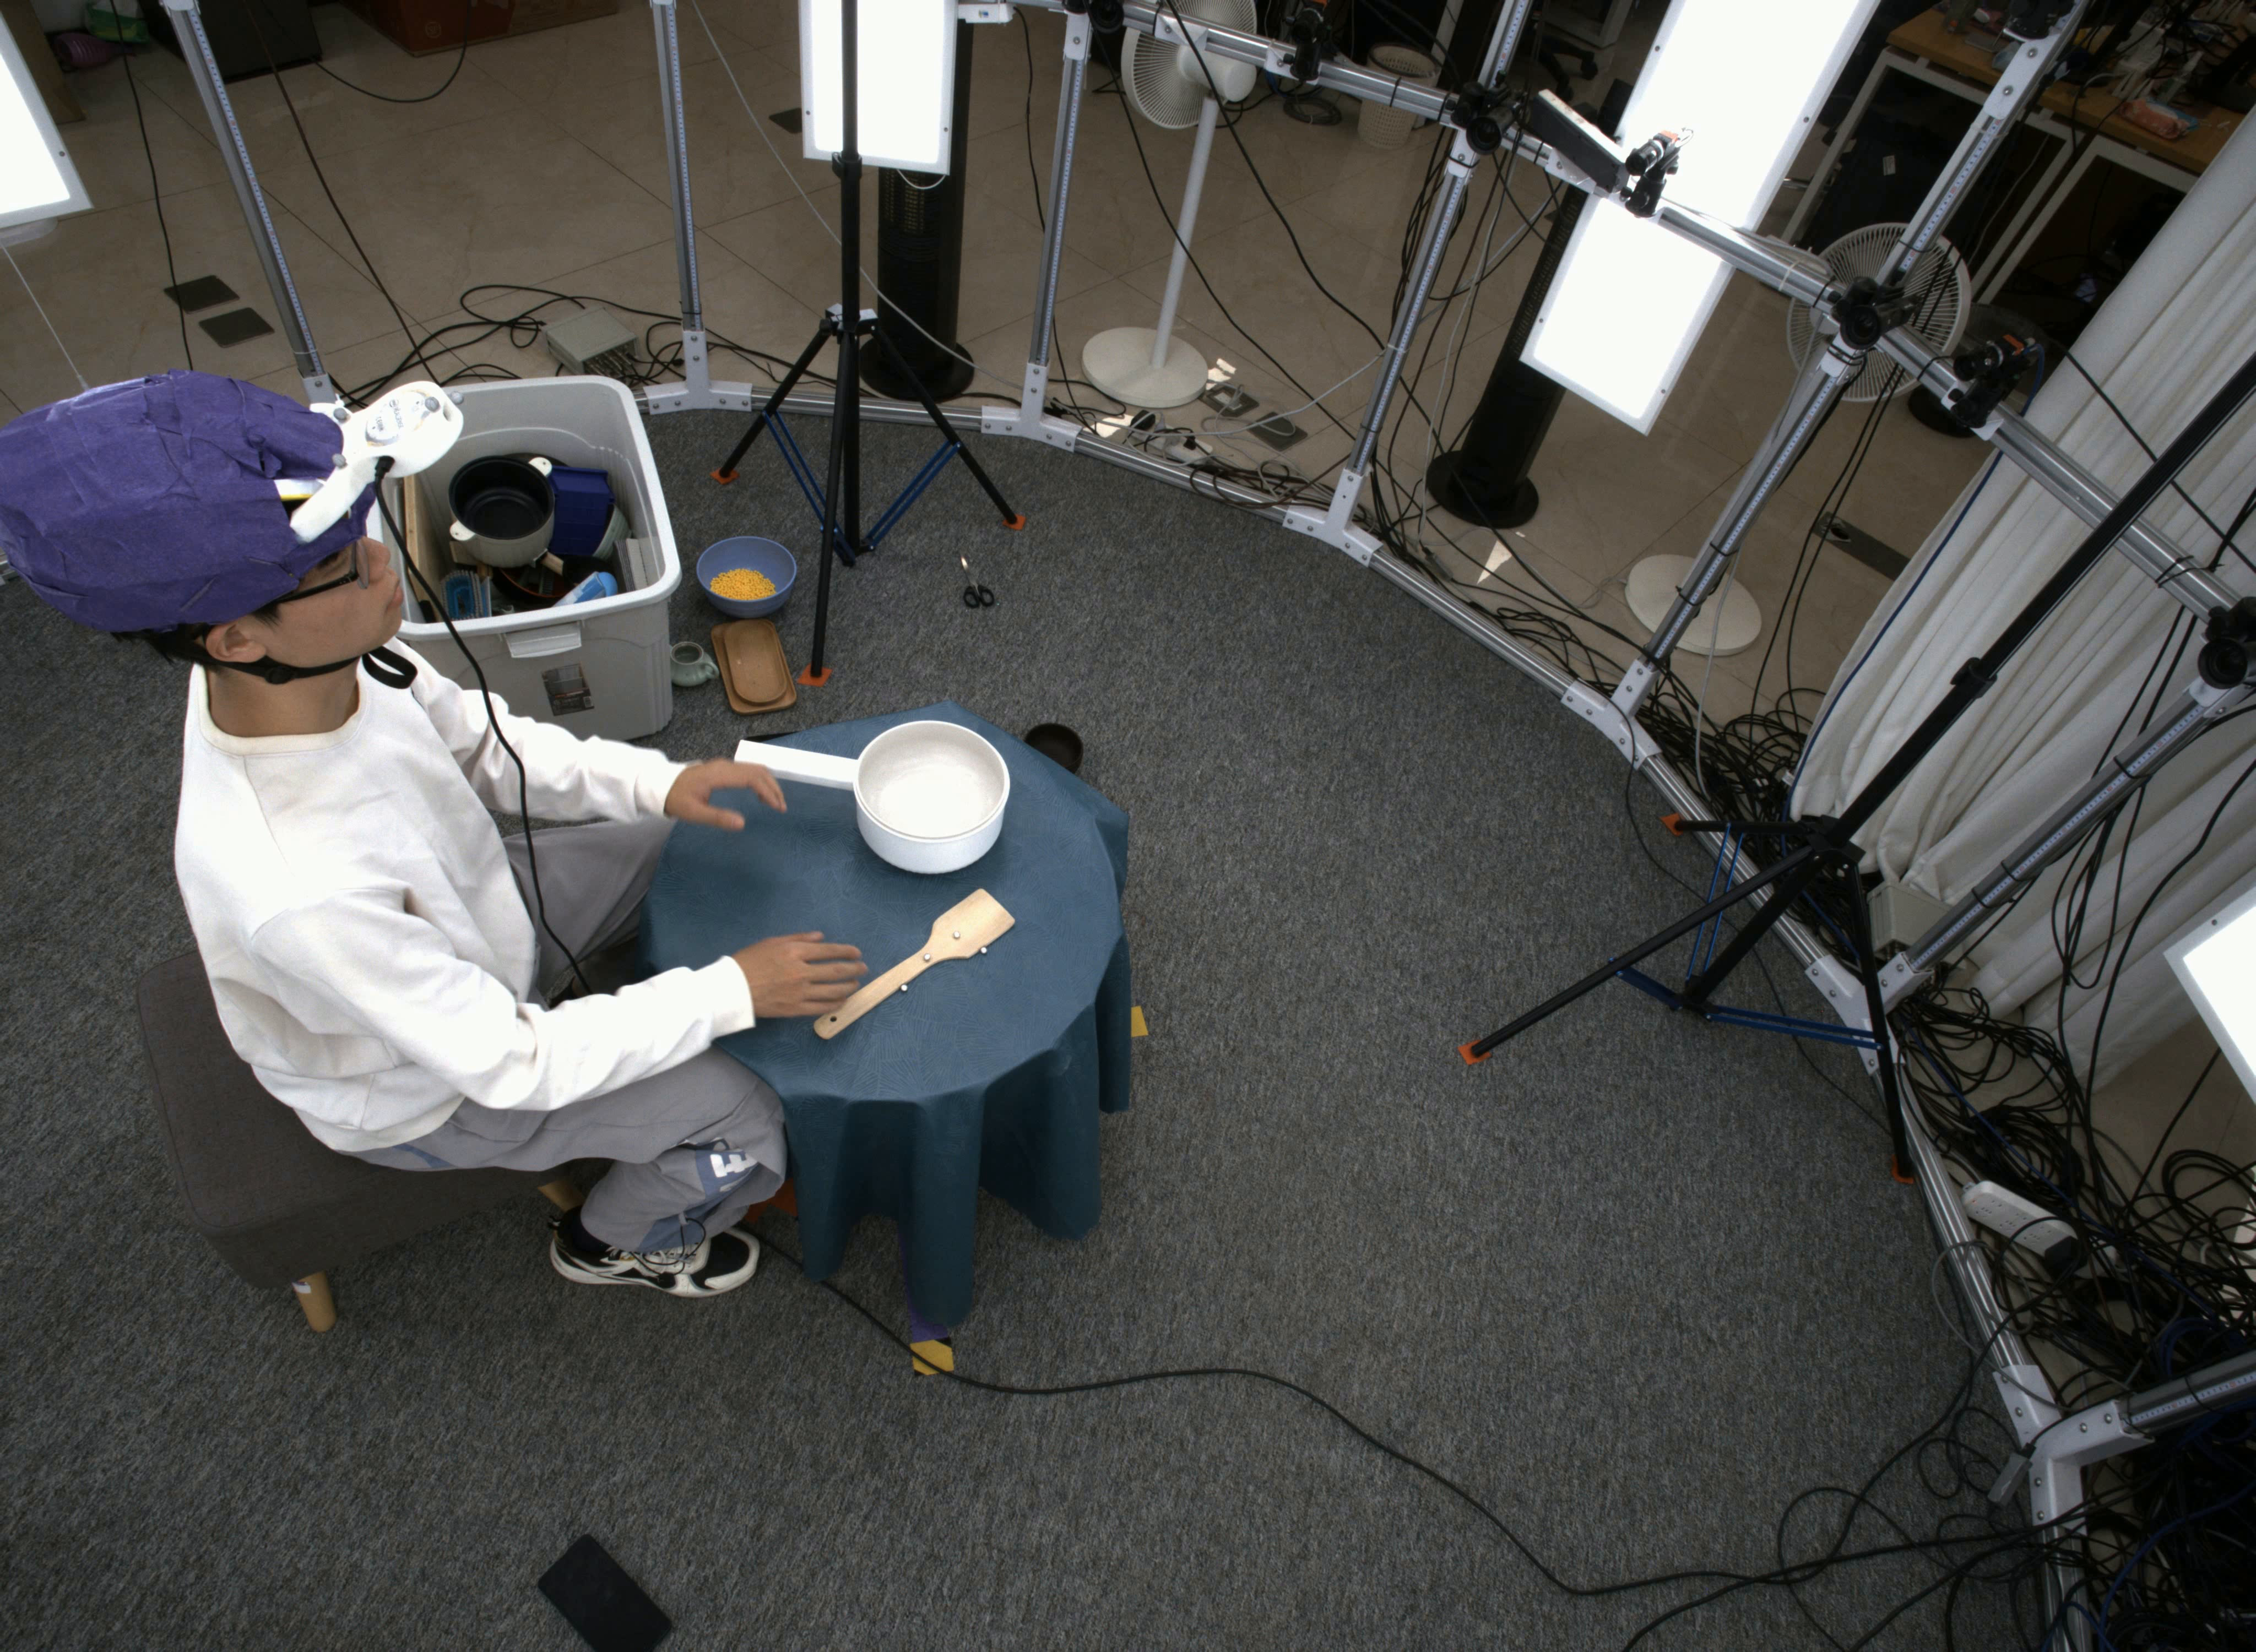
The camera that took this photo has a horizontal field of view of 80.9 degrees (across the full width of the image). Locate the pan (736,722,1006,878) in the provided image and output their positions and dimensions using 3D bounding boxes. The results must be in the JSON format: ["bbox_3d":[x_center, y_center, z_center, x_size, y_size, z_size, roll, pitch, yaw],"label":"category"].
[{"bbox_3d":[-0.339,-0.040,1.734,0.352,0.104,0.198,7,56,-4],"label":"pan"}]

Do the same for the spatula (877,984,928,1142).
[{"bbox_3d":[-0.389,0.384,2.164,0.072,0.011,0.286,-6,55,-15],"label":"spatula"}]
